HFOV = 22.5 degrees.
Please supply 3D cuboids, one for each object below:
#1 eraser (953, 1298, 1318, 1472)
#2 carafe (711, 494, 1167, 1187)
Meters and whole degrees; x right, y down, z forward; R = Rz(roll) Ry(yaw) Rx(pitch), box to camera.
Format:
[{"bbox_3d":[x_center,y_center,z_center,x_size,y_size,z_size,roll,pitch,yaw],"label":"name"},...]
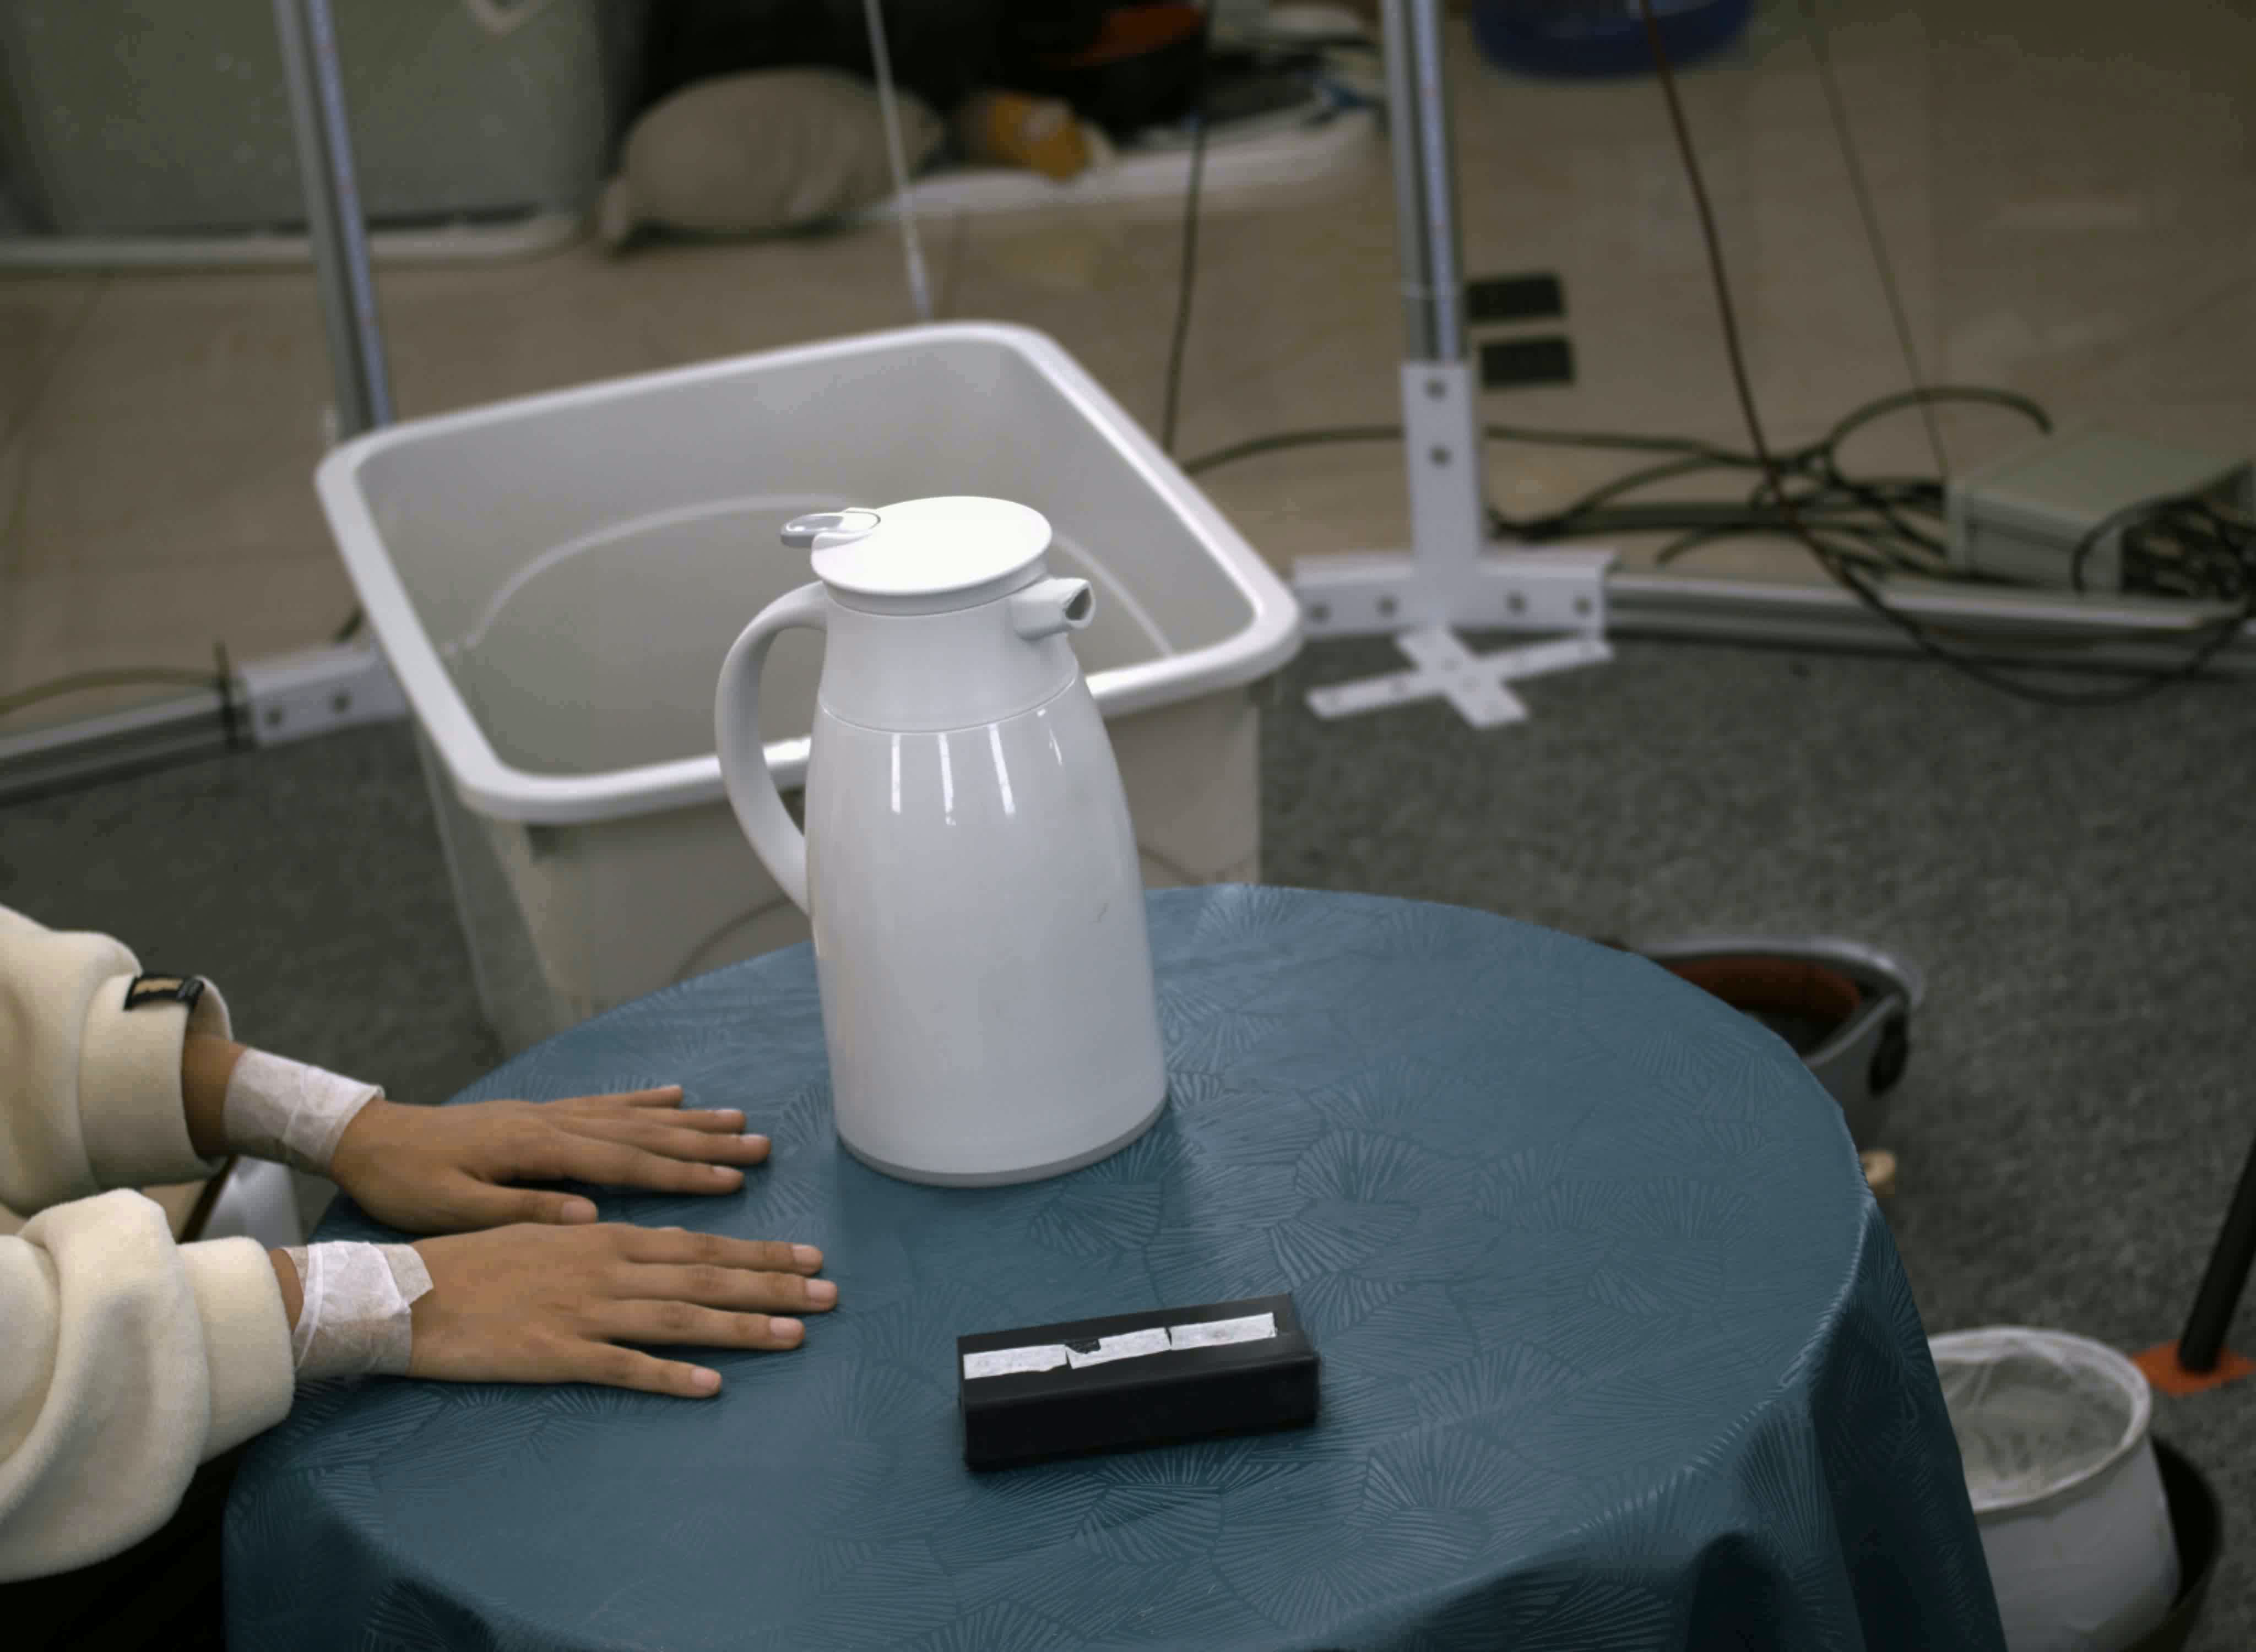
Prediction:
[{"bbox_3d":[0.003,0.195,1.992,0.125,0.031,0.053,-8,23,-3],"label":"eraser"},{"bbox_3d":[-0.080,-0.003,2.173,0.167,0.252,0.131,6,29,26],"label":"carafe"}]
